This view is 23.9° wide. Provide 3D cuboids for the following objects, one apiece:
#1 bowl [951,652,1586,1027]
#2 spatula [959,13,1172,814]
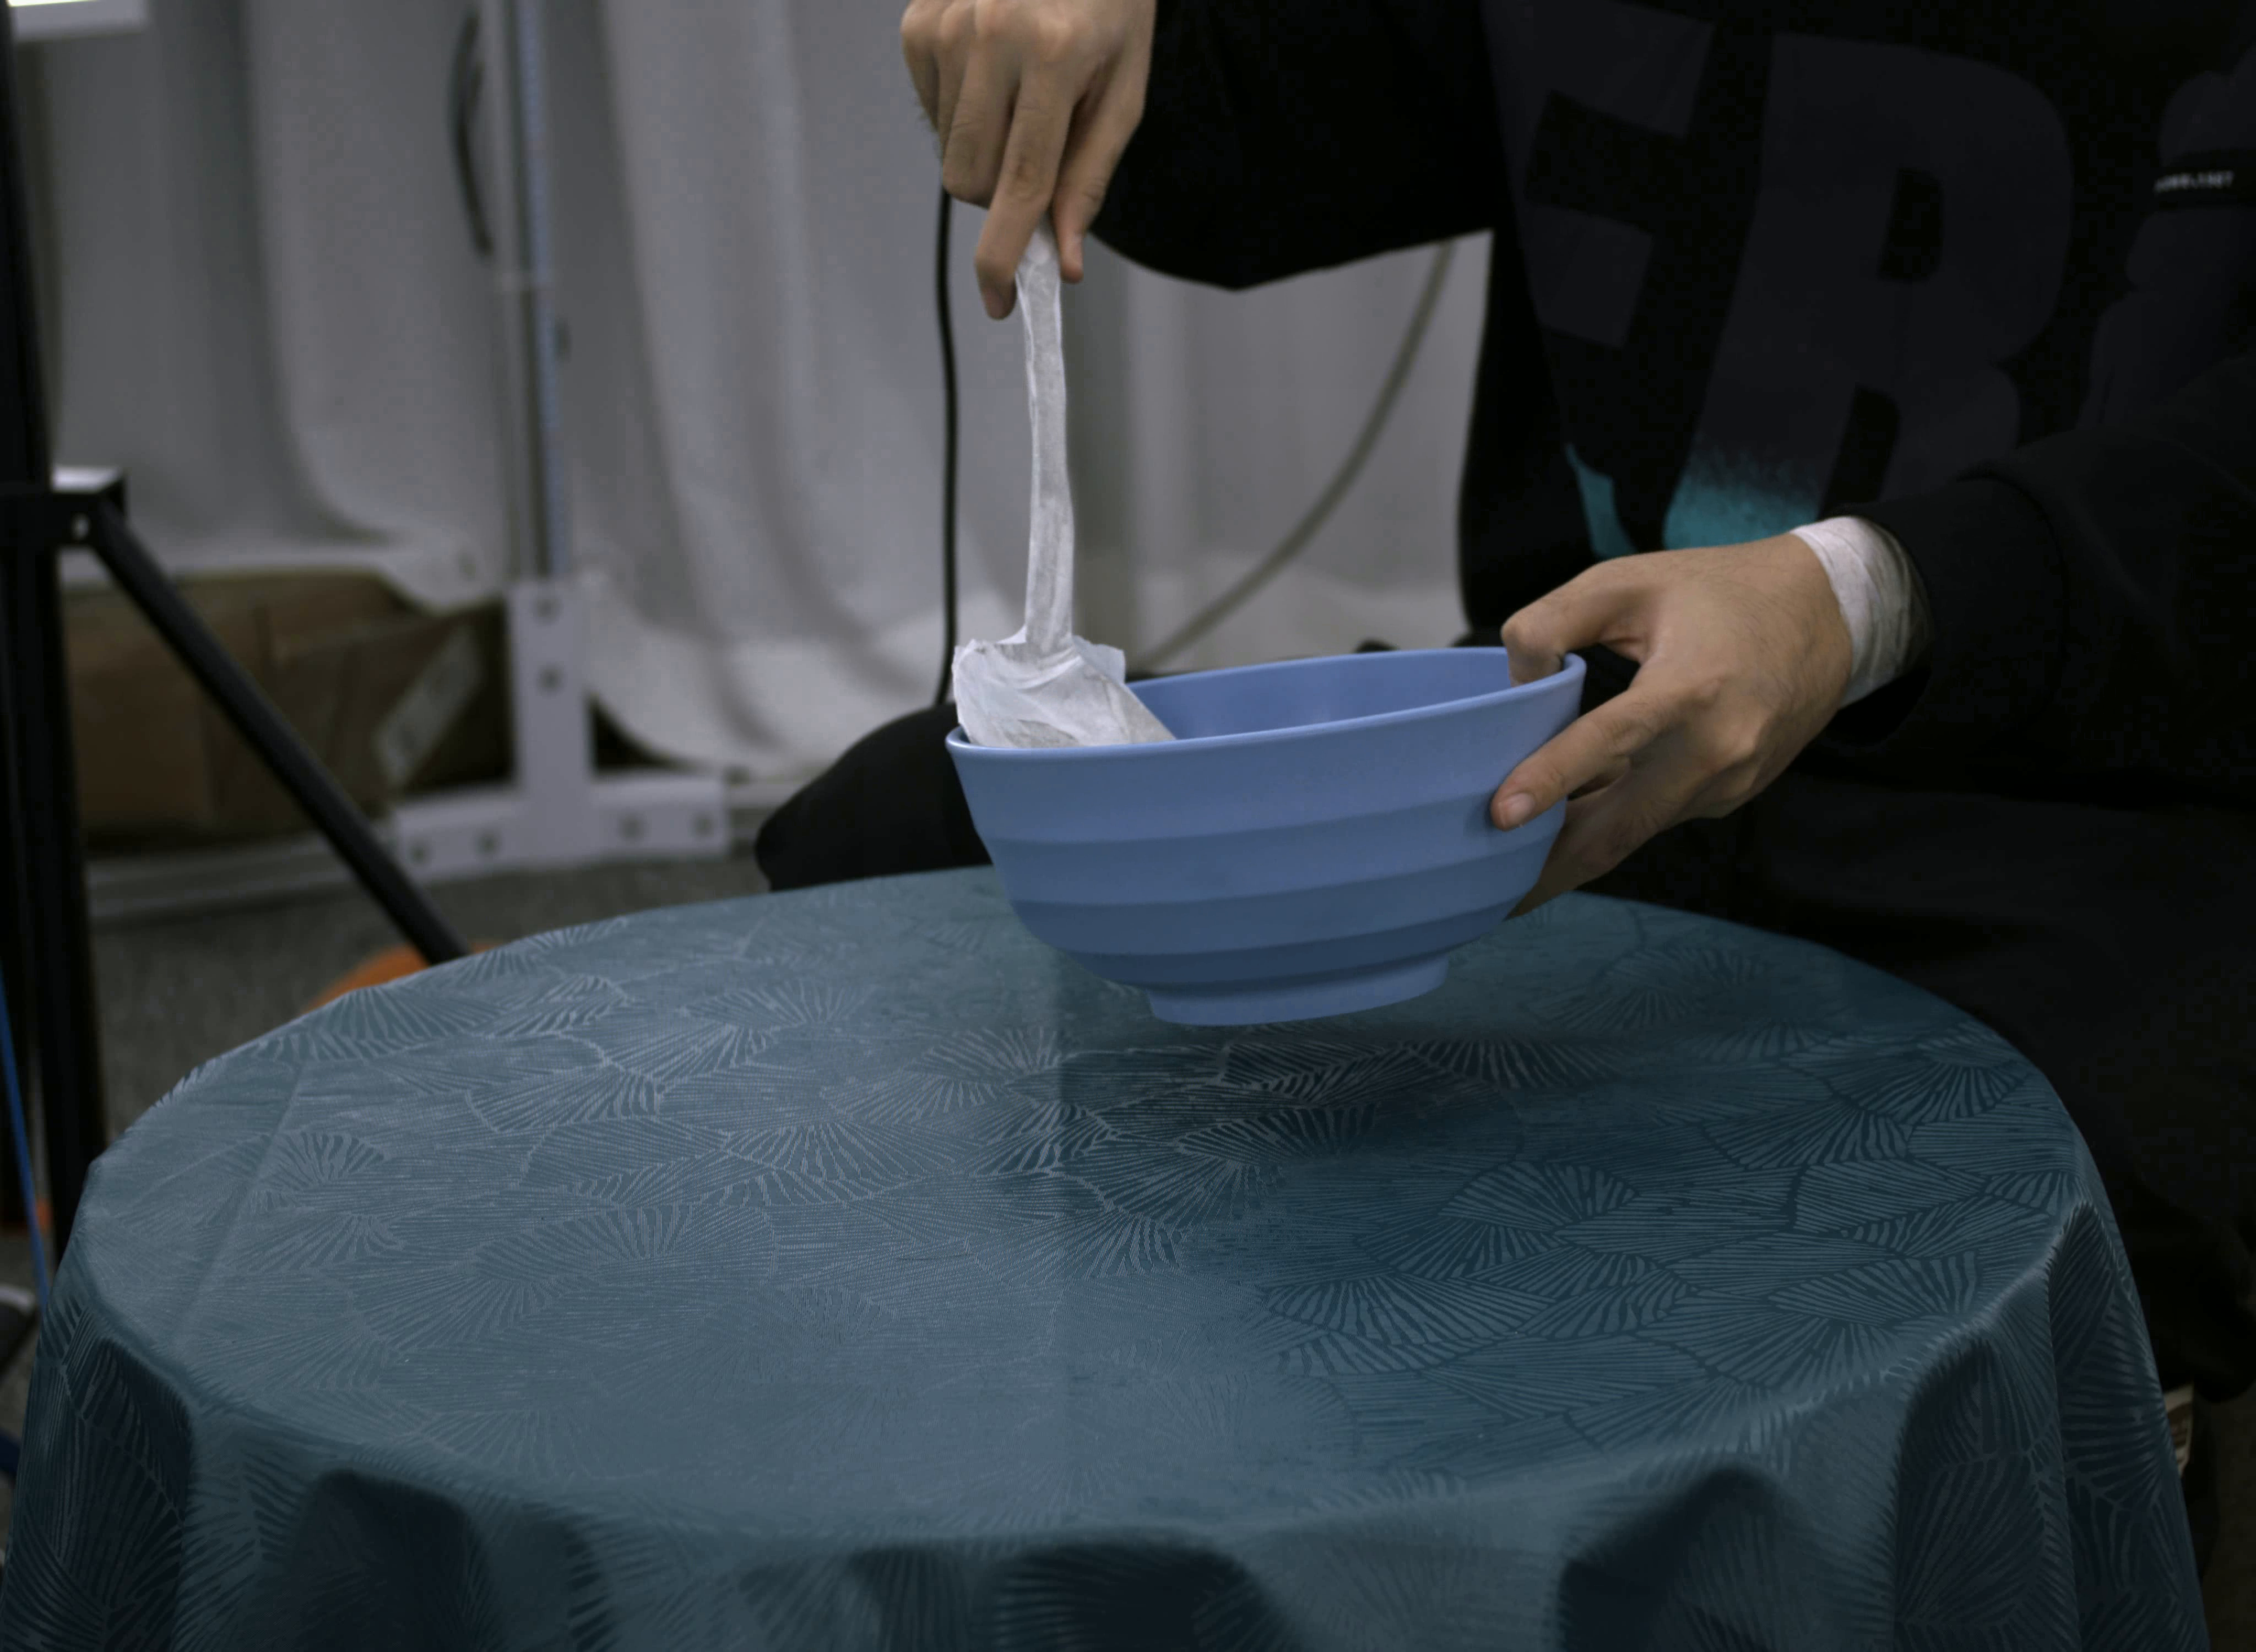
[{"bbox_3d":[0.048,0.007,1.627,0.195,0.096,0.197,-8,6,-1],"label":"bowl"},{"bbox_3d":[-0.020,-0.135,1.713,0.096,0.369,0.045,15,-37,-28],"label":"spatula"}]
